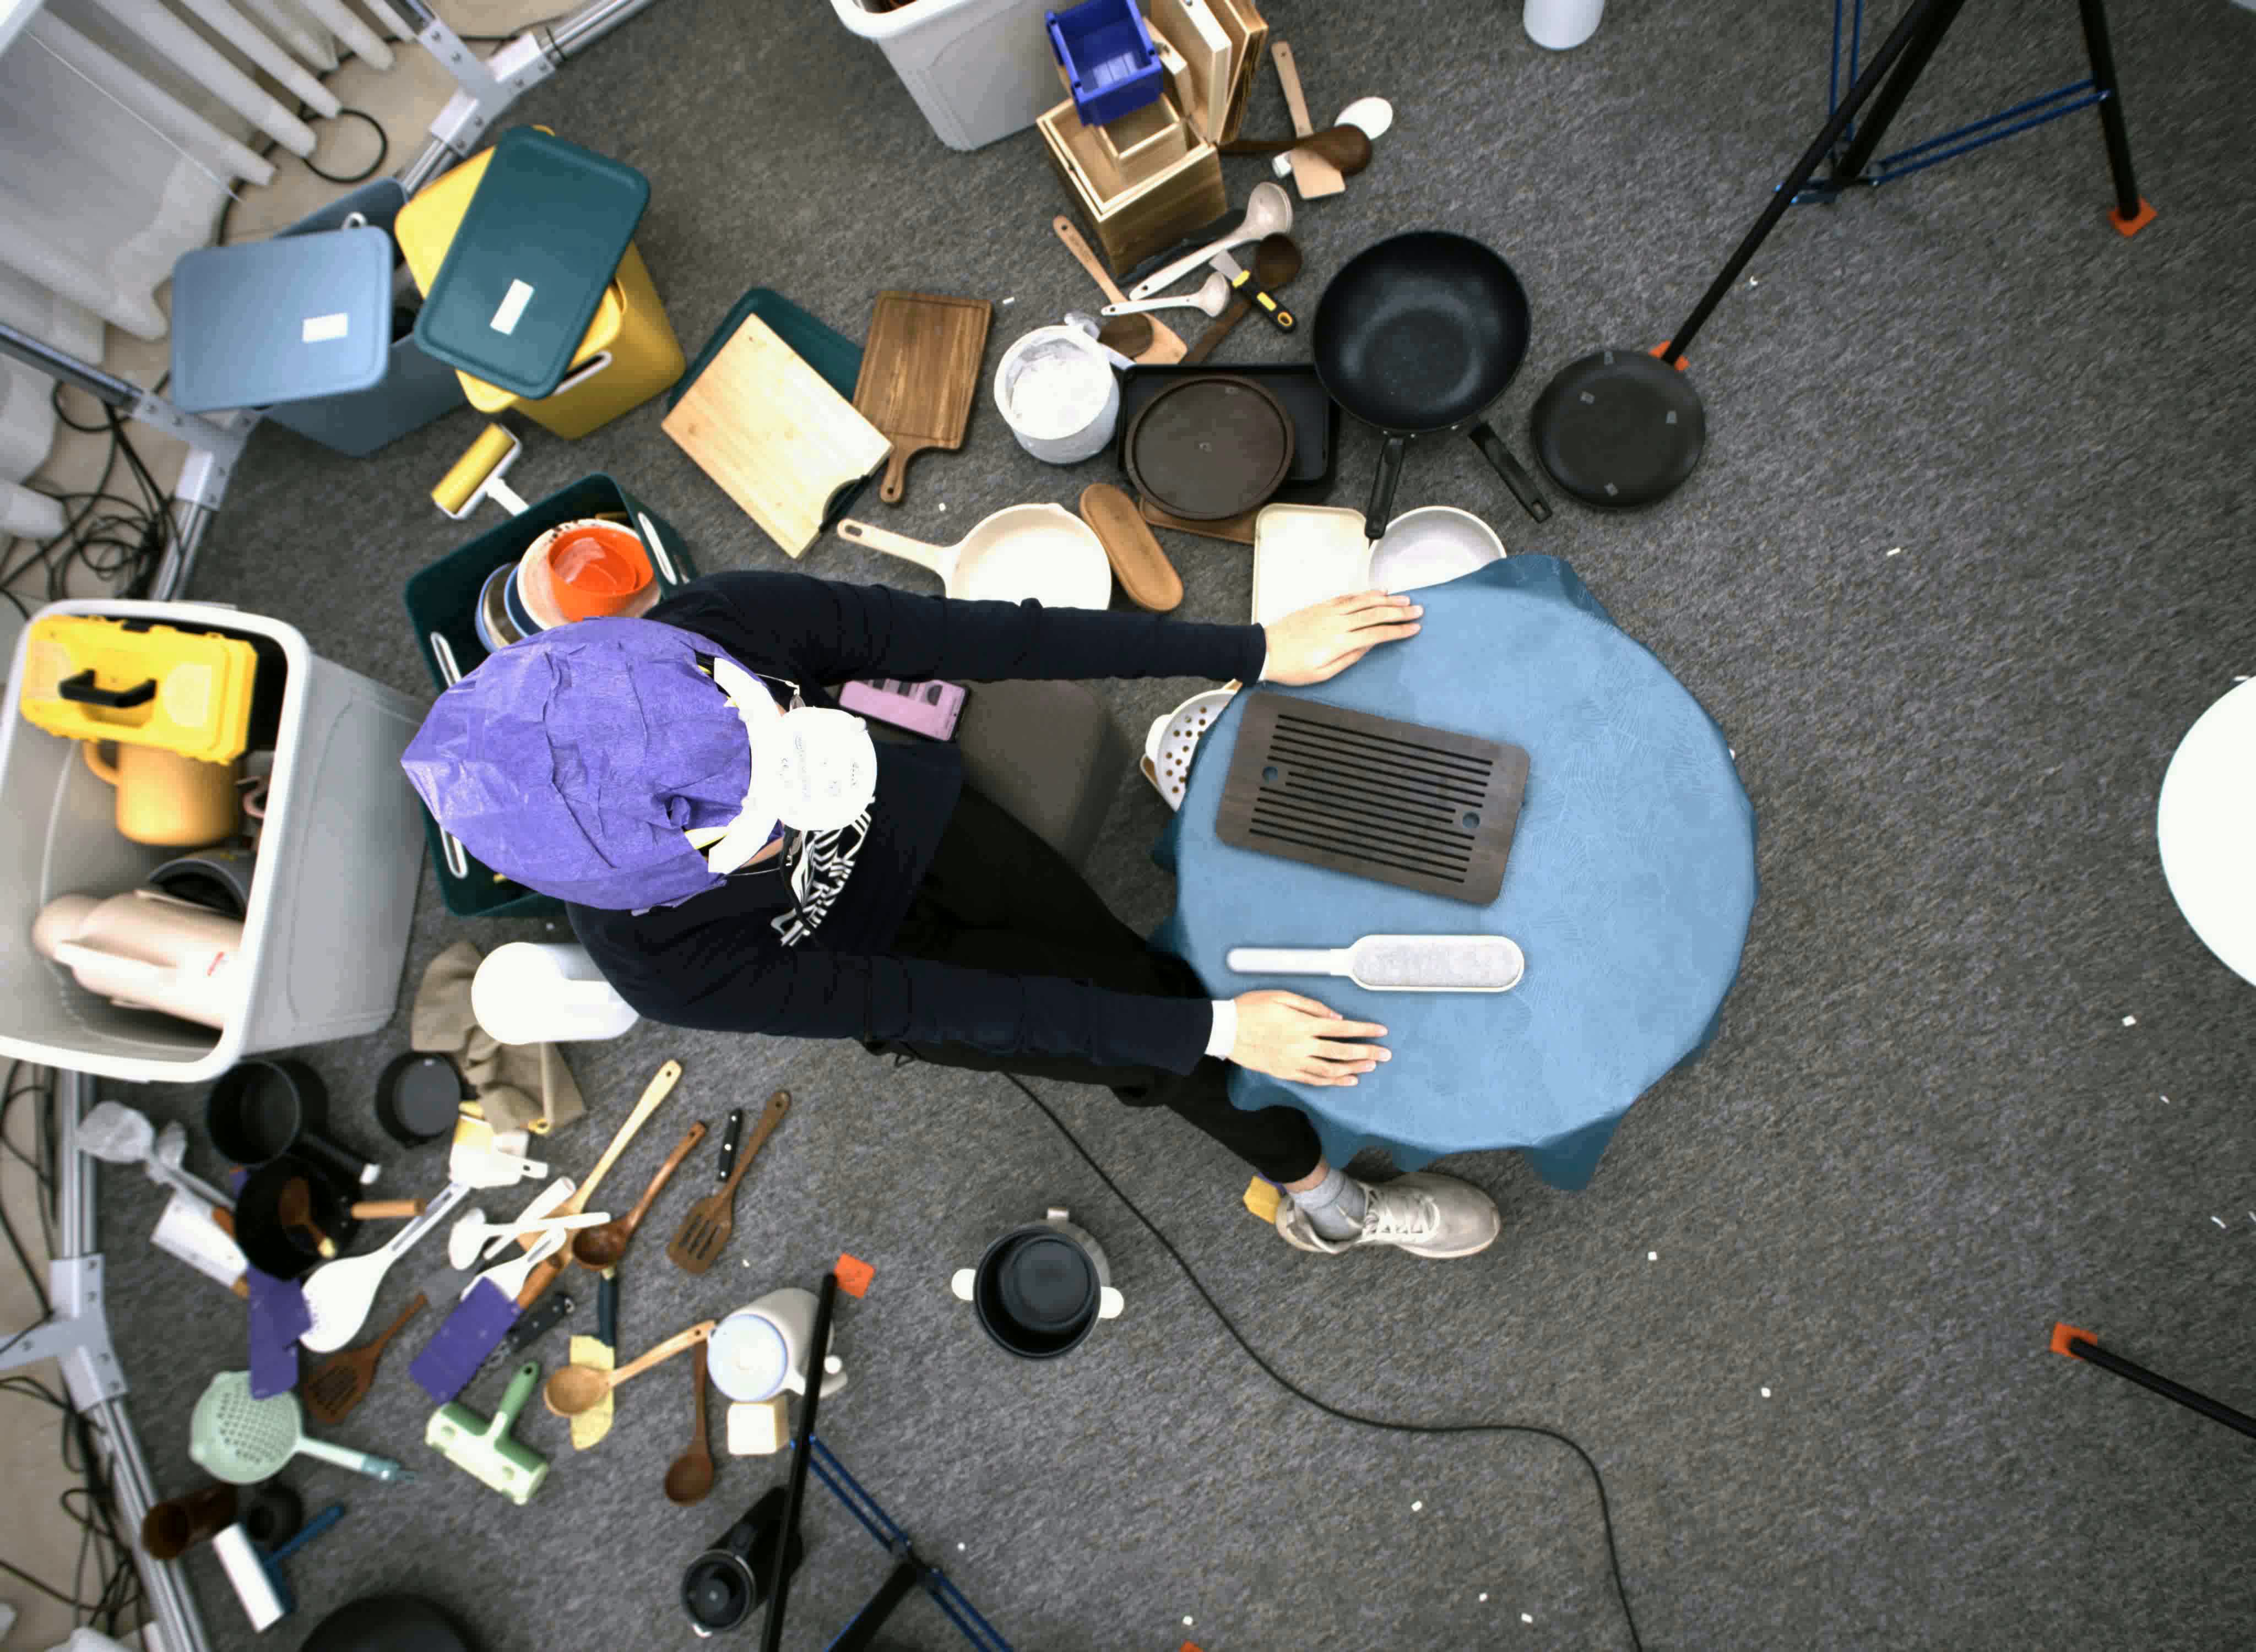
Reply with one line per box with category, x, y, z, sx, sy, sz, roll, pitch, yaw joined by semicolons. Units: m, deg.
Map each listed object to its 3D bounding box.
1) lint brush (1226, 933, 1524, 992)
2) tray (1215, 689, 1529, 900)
lint brush;0.256;0.139;1.445;0.310;0.021;0.060;0;92;11
tray;0.256;-0.036;1.460;0.306;0.018;0.170;13;90;11
